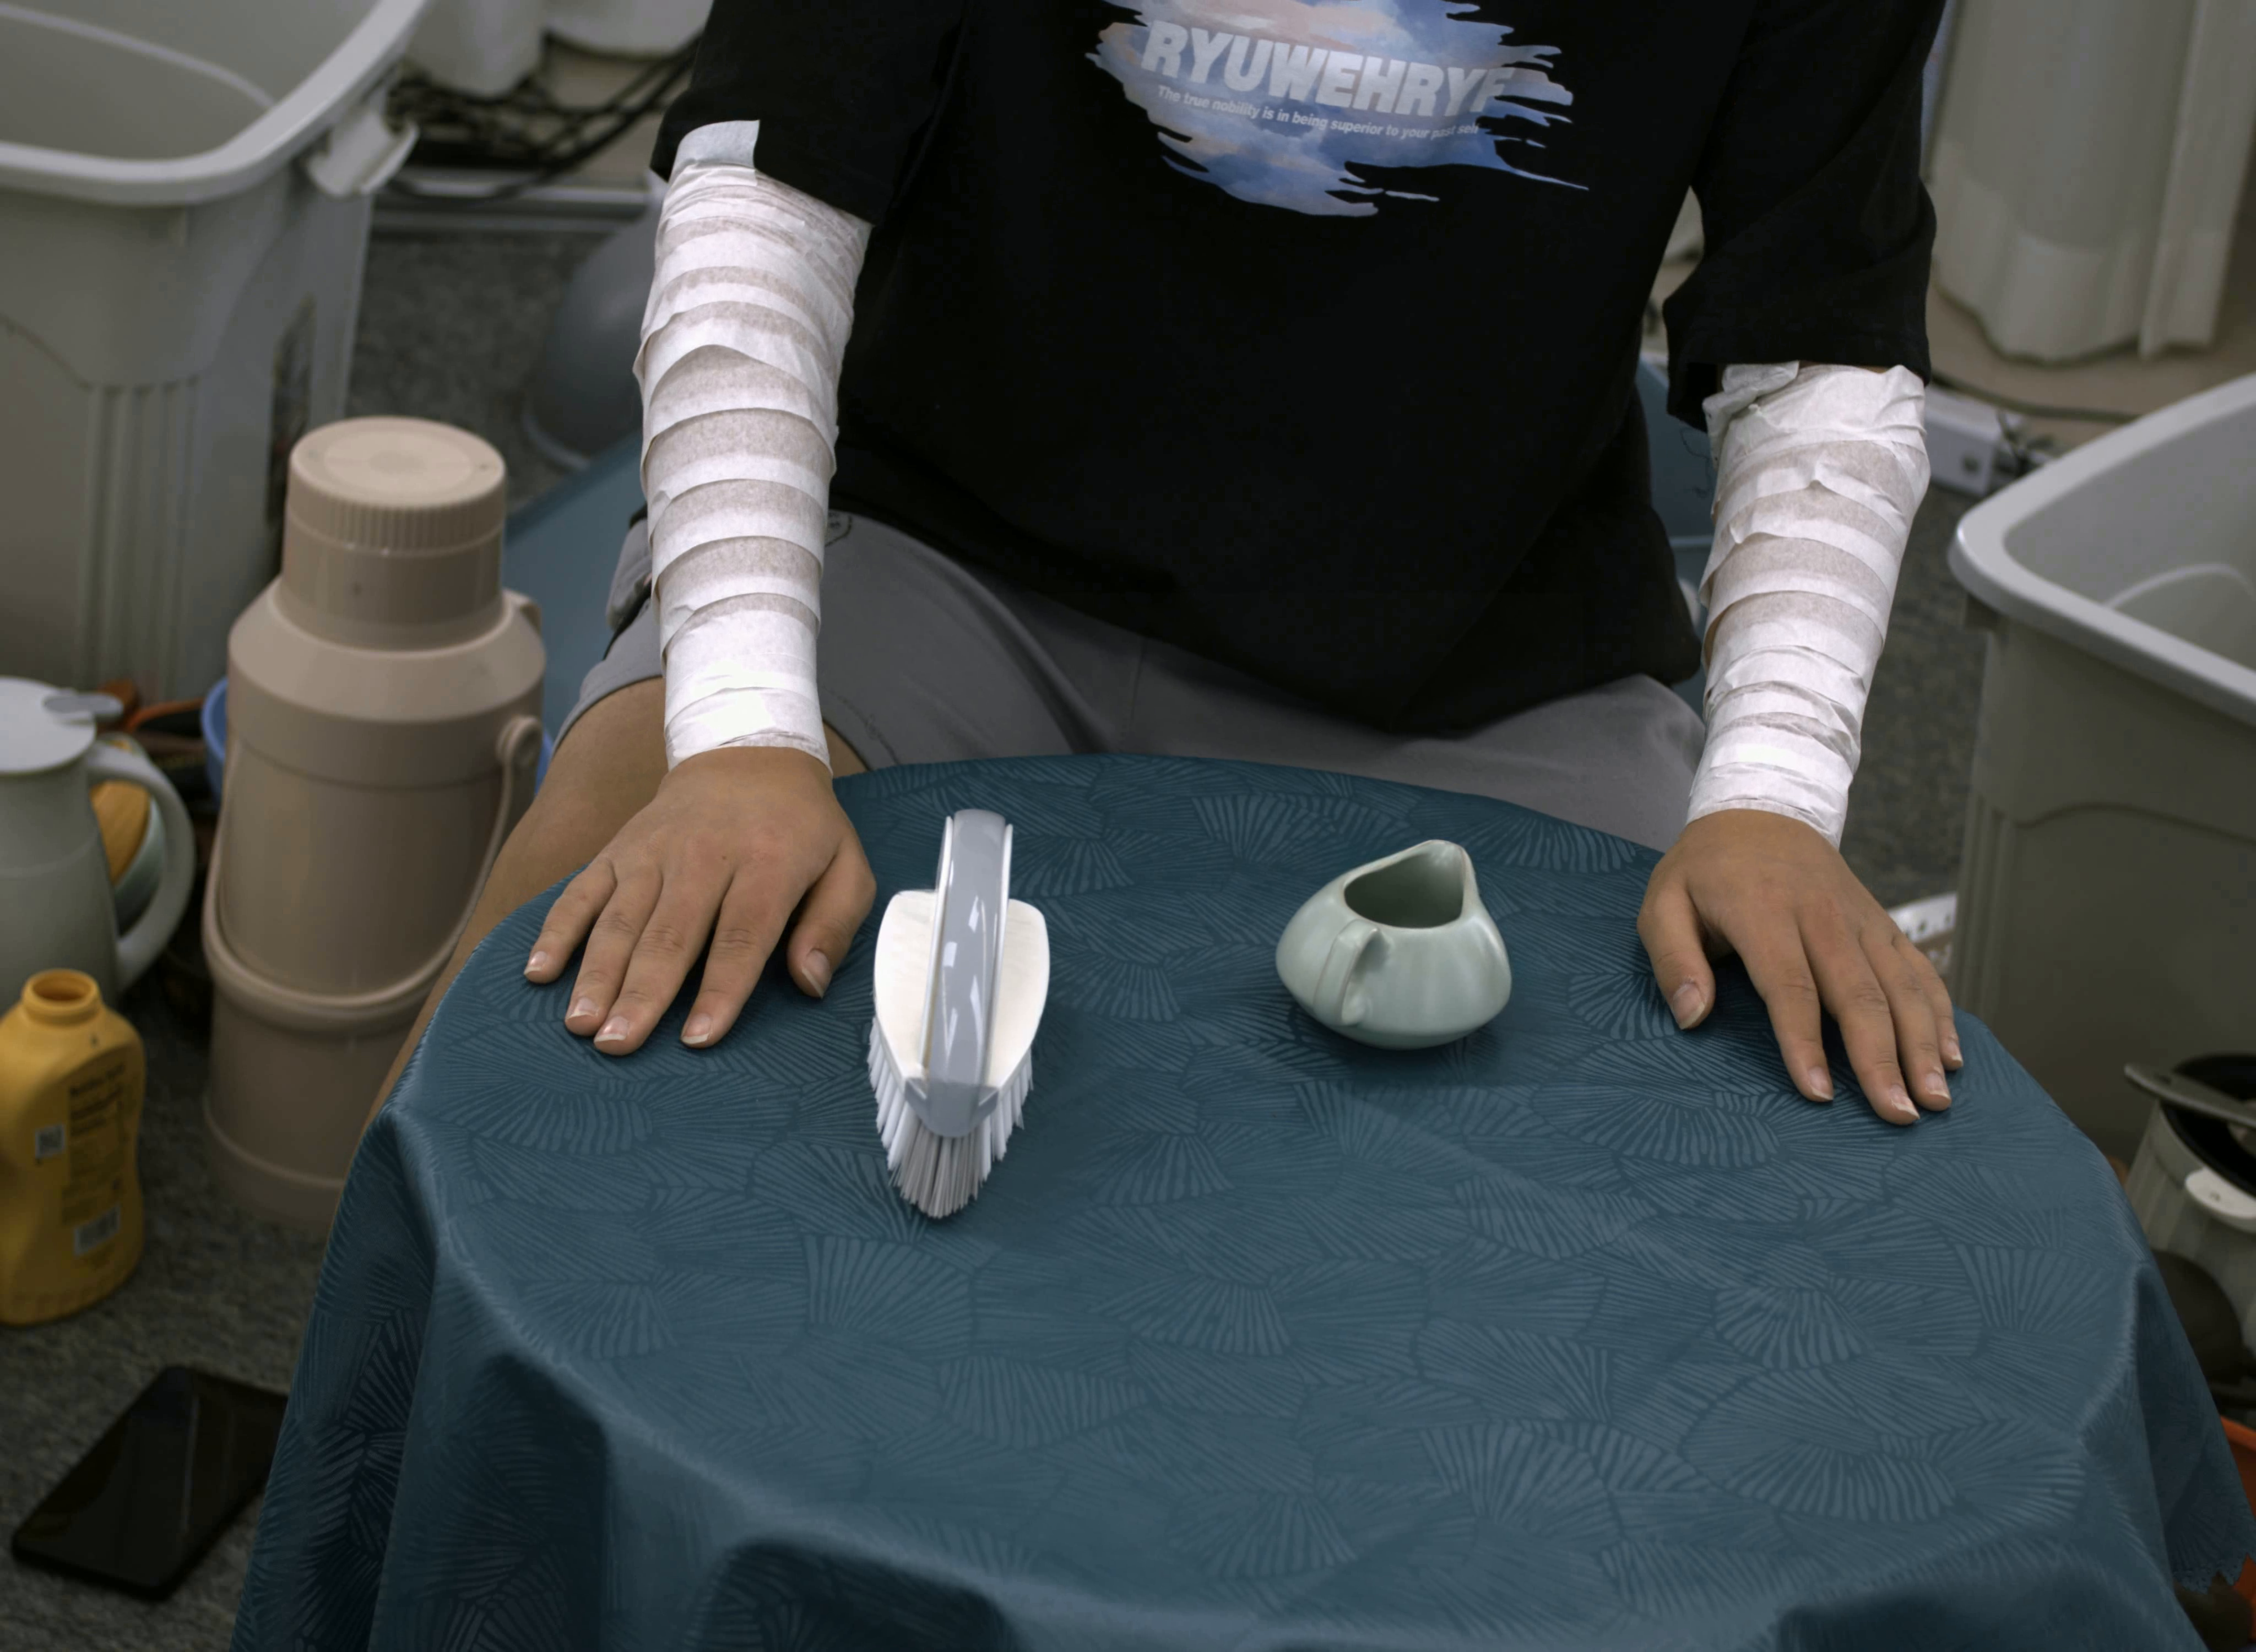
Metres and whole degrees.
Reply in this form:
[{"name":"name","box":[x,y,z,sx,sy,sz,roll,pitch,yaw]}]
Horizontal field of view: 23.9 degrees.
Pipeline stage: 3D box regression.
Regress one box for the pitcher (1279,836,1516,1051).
[{"name":"pitcher","box":[0.094,0.049,1.911,0.086,0.060,0.108,16,30,19]}]

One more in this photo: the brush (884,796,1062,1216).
[{"name":"brush","box":[-0.055,0.054,1.829,0.061,0.094,0.176,4,28,0]}]
